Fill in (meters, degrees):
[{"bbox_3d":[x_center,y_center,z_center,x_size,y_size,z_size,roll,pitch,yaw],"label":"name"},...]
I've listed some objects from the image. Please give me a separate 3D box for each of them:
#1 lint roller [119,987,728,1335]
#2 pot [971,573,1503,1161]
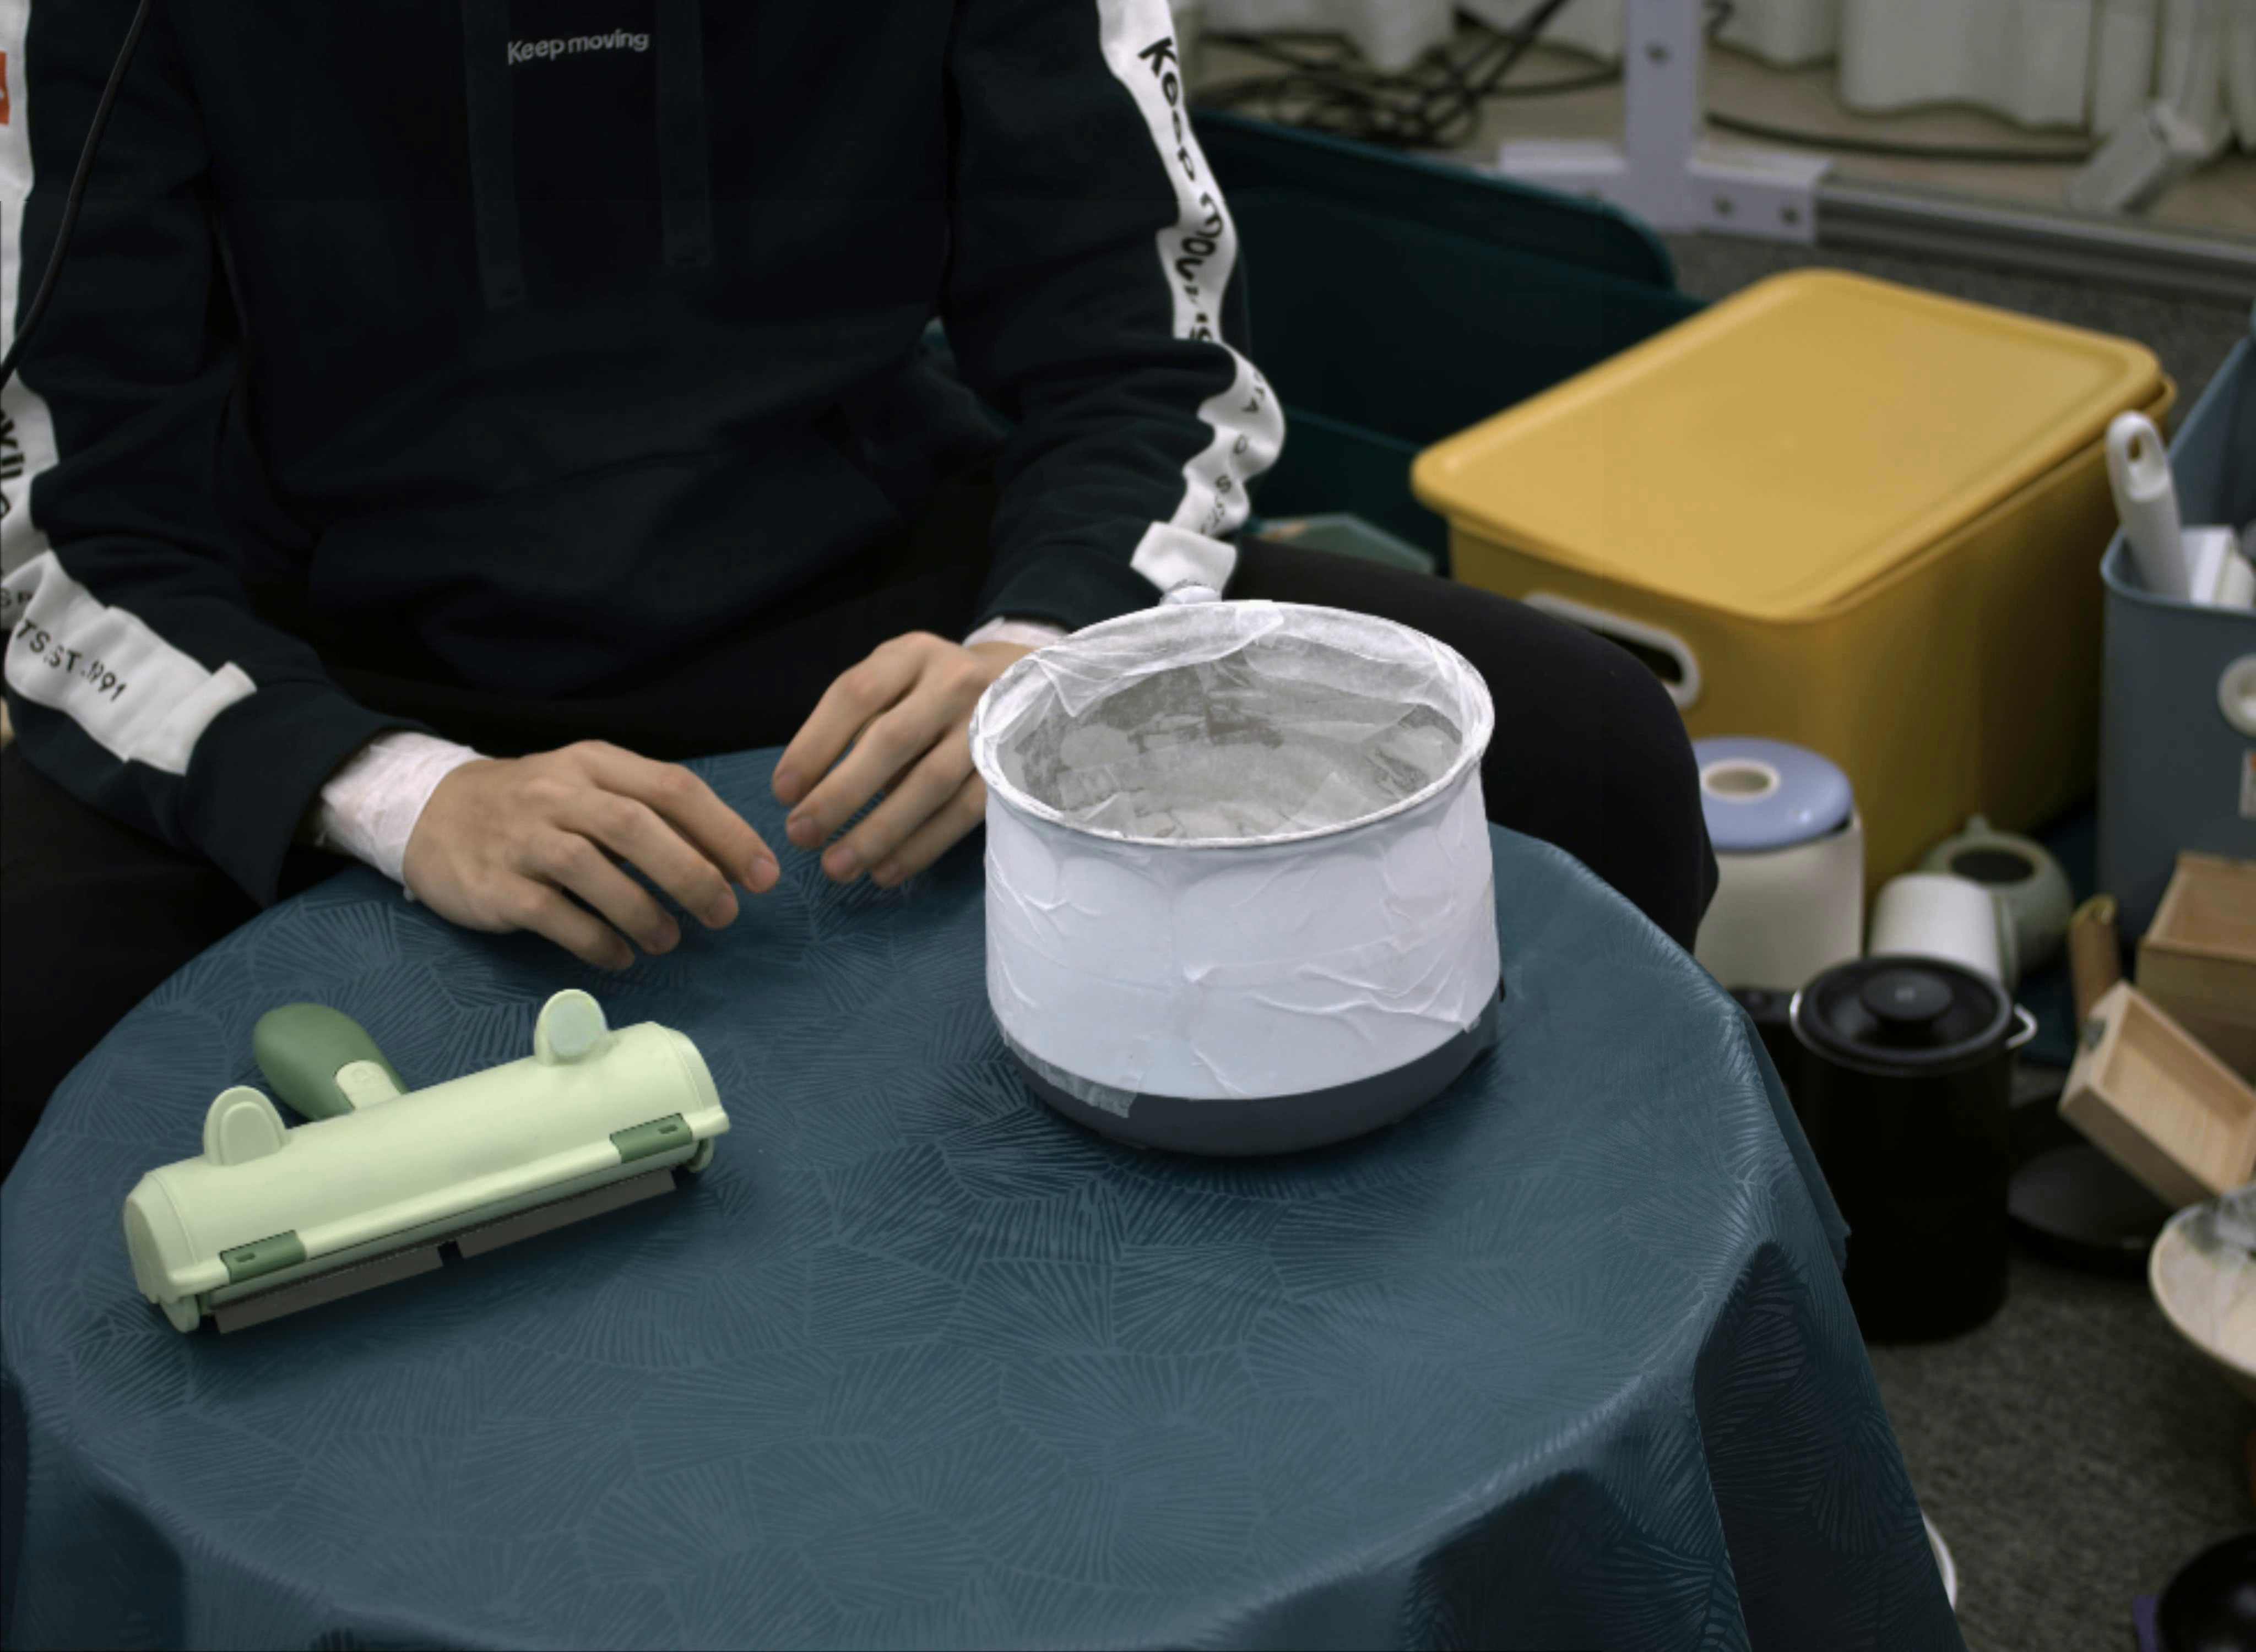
[{"bbox_3d":[-0.256,0.083,1.879,0.199,0.081,0.184,-16,35,-23],"label":"lint roller"},{"bbox_3d":[0.035,0.007,1.929,0.178,0.135,0.237,-5,28,-6],"label":"pot"}]
